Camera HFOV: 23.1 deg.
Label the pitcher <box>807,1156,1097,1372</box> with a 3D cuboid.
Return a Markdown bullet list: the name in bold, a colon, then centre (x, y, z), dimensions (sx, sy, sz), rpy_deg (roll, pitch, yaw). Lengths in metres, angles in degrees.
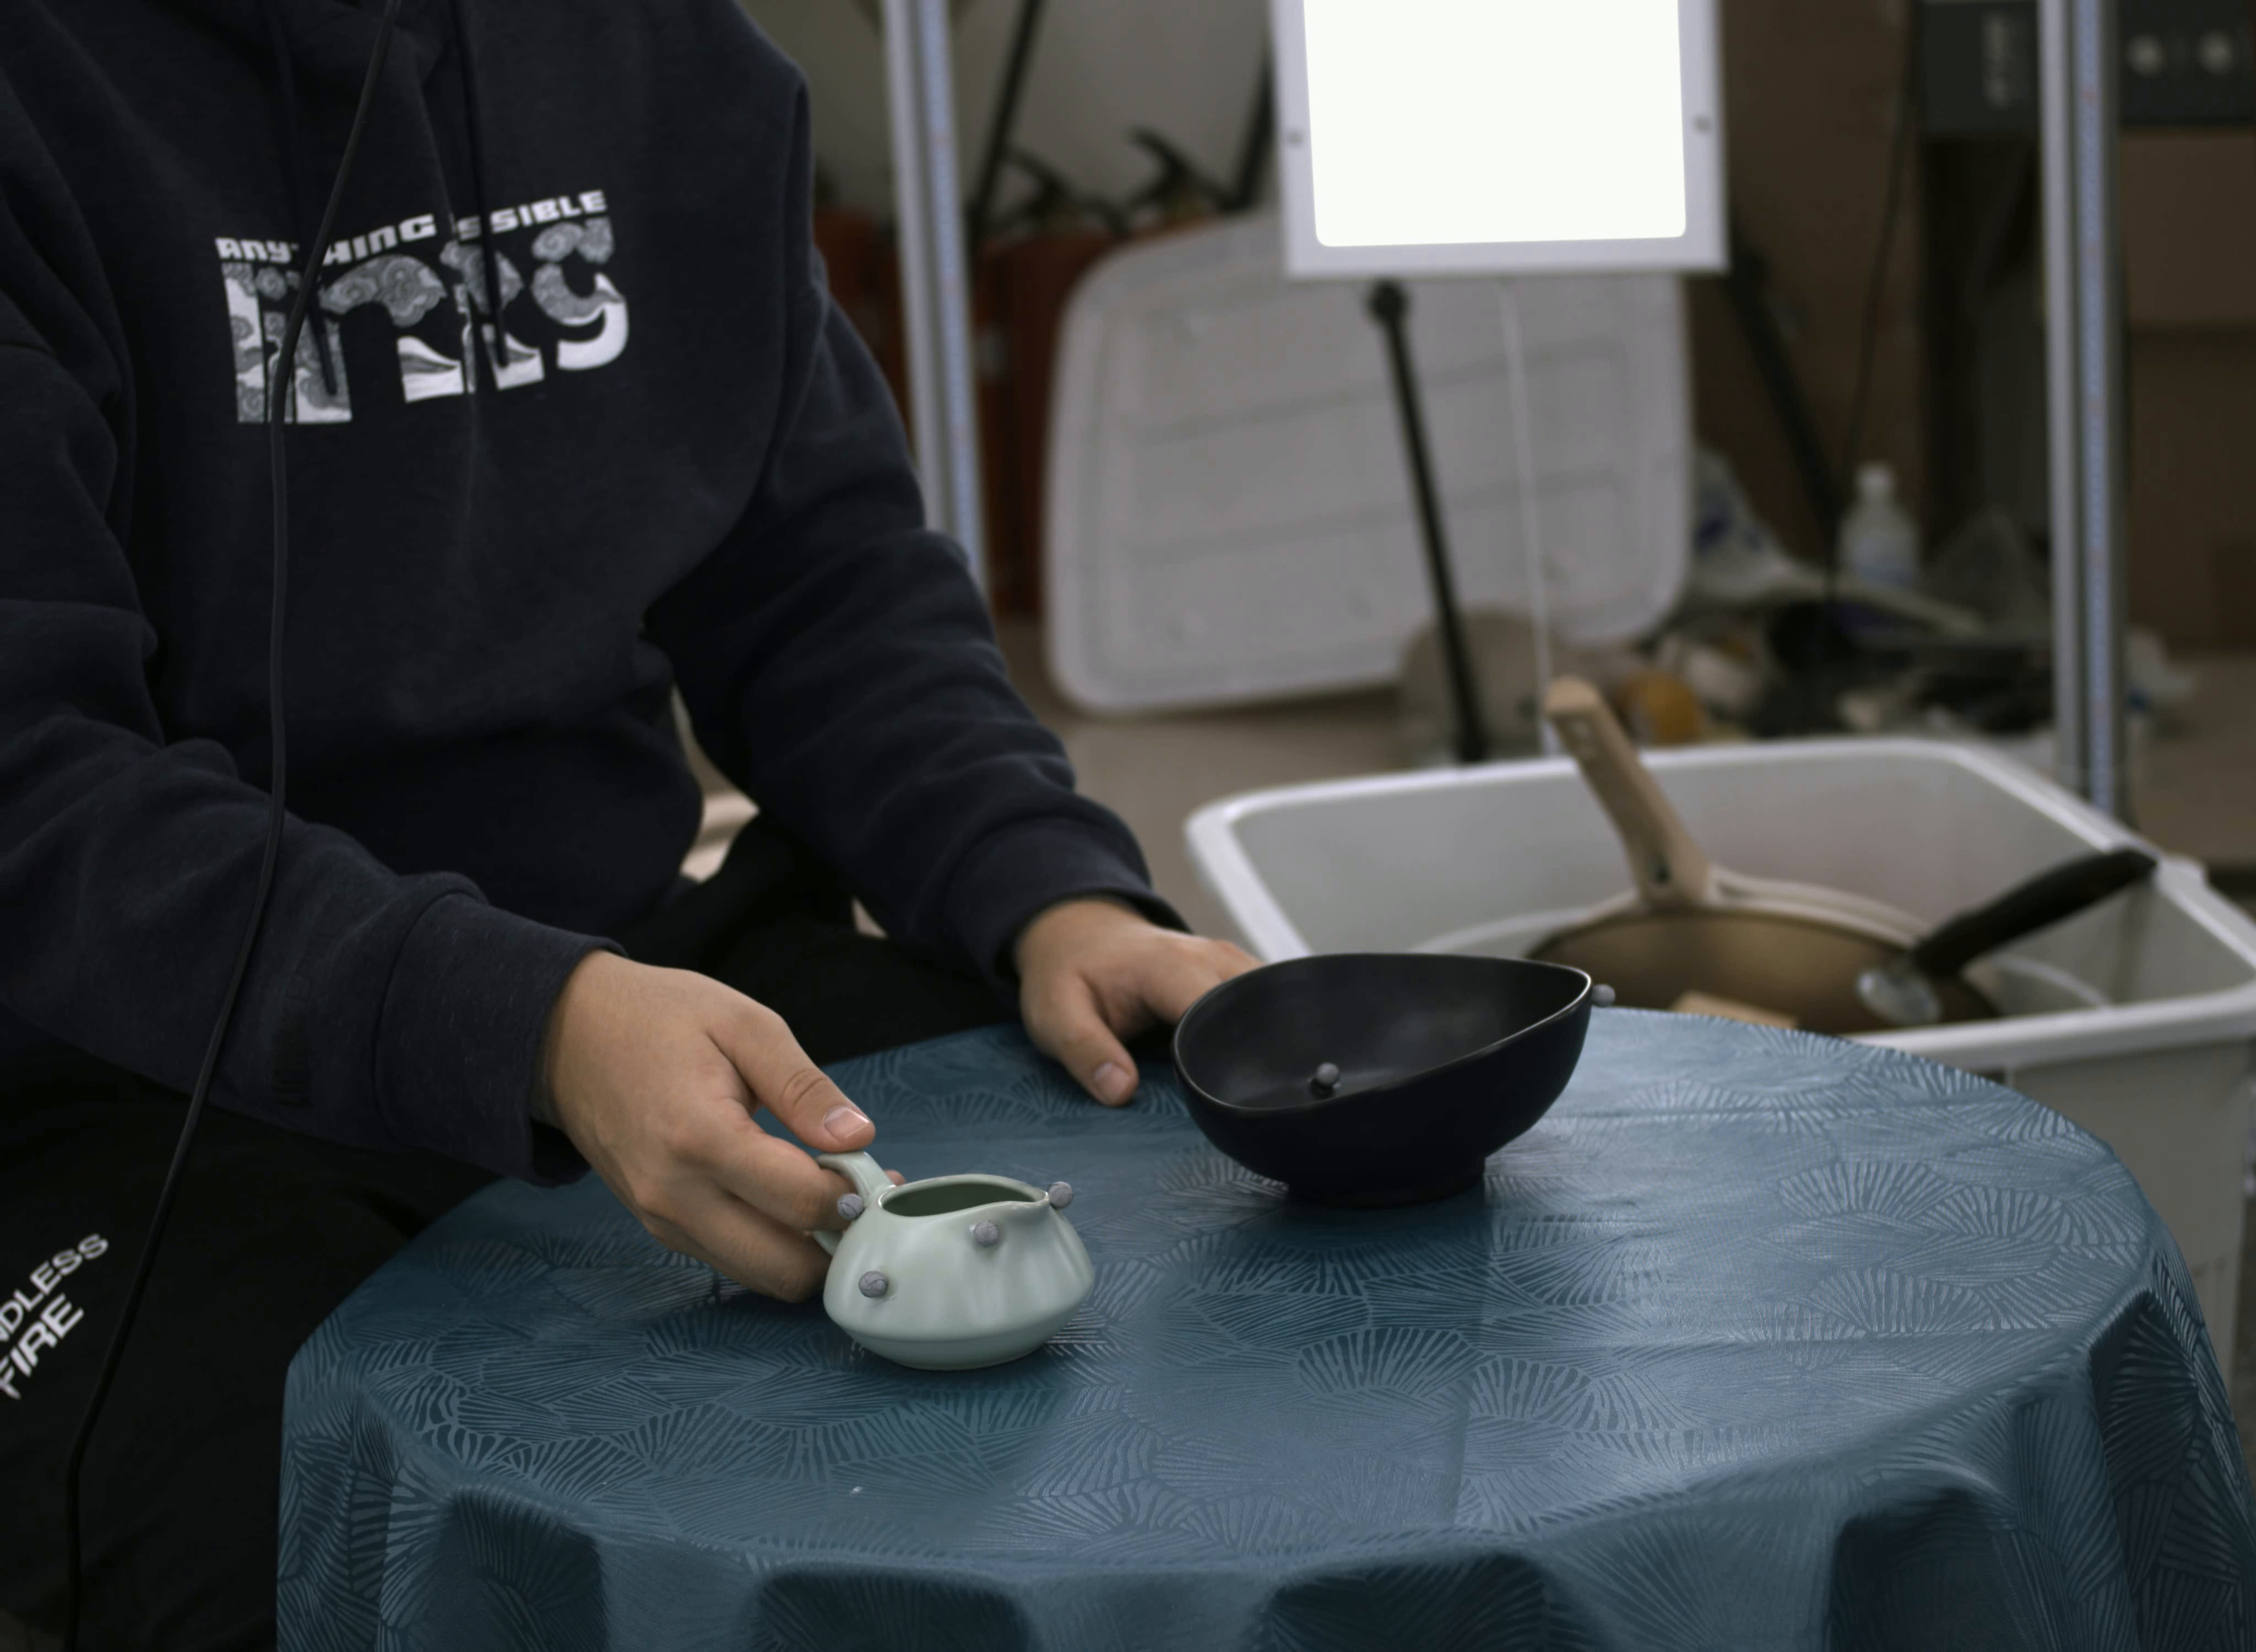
- **pitcher**: centre (-0.062, 0.138, 1.754), dimensions (0.110, 0.060, 0.084), rpy_deg (5, 15, 43)

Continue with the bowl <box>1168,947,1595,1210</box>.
- **bowl**: centre (0.089, 0.090, 1.883), dimensions (0.140, 0.067, 0.166), rpy_deg (4, 17, 35)
